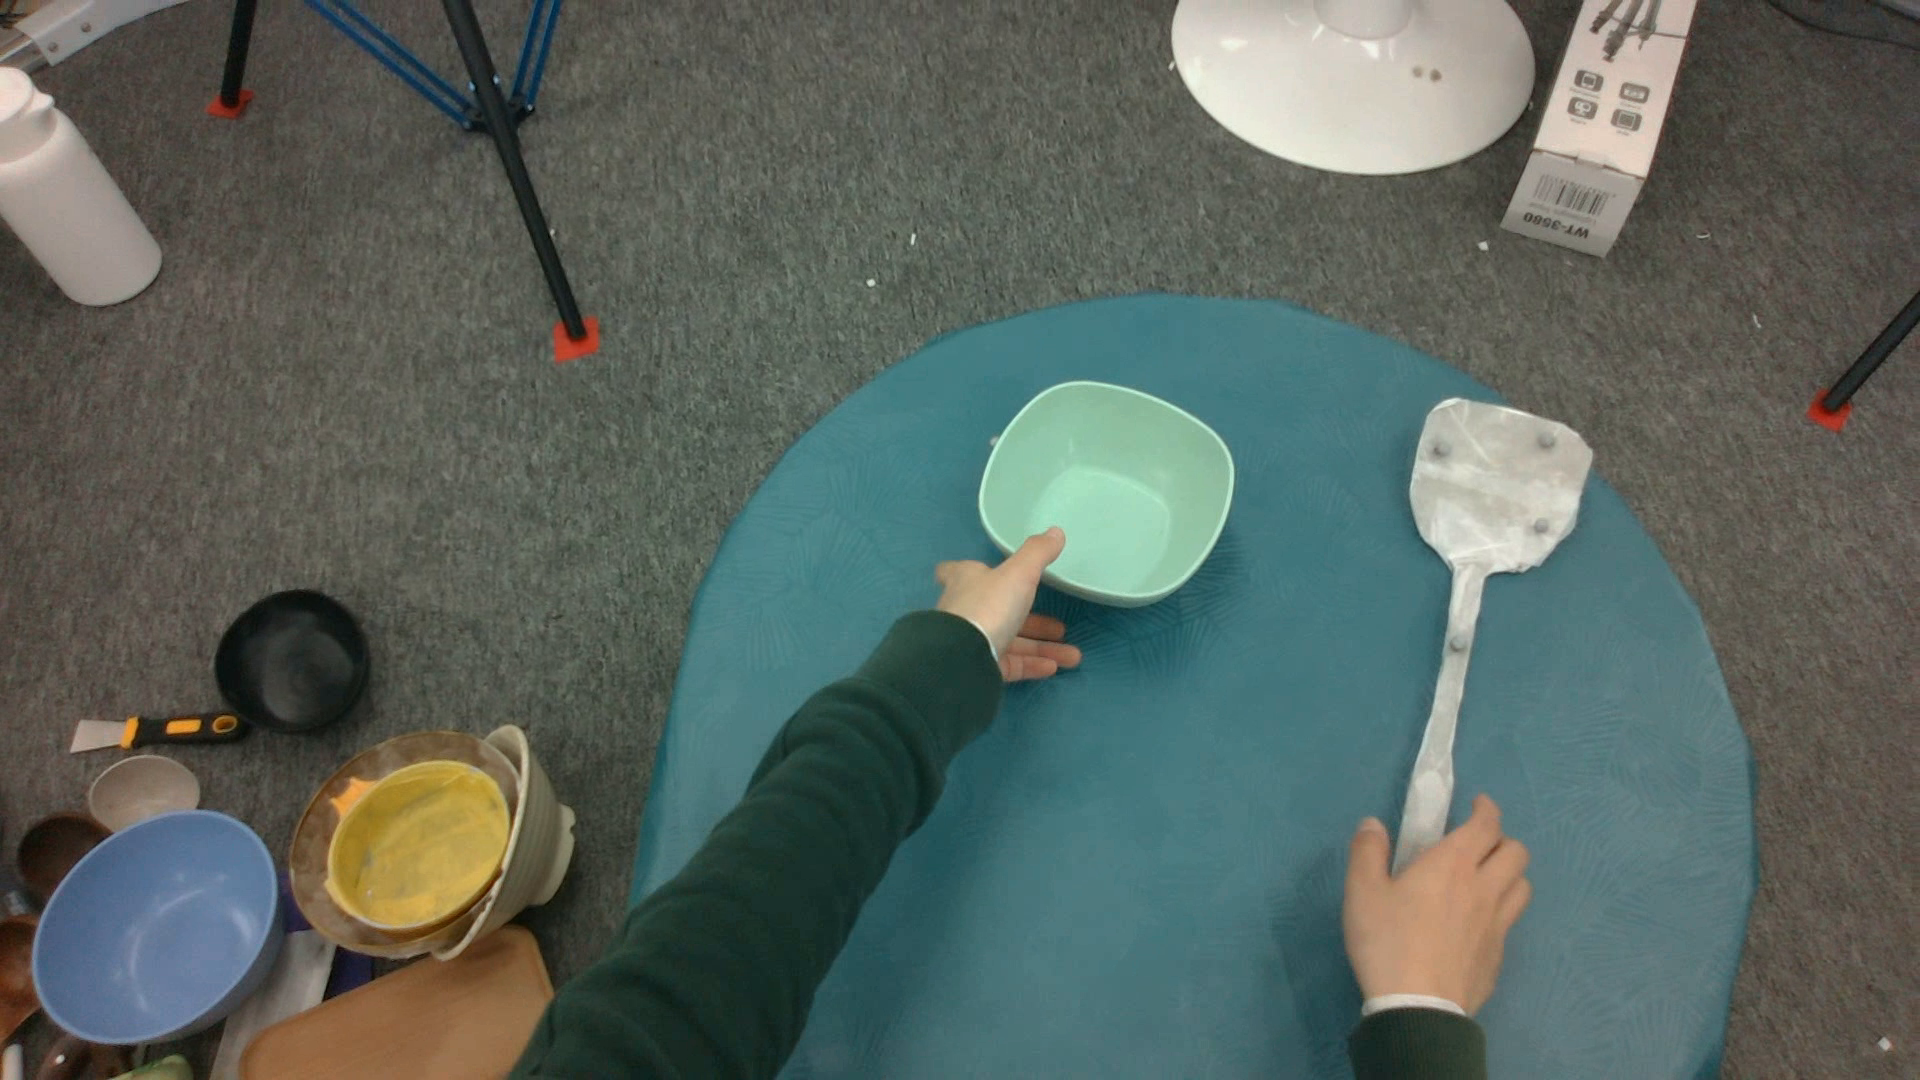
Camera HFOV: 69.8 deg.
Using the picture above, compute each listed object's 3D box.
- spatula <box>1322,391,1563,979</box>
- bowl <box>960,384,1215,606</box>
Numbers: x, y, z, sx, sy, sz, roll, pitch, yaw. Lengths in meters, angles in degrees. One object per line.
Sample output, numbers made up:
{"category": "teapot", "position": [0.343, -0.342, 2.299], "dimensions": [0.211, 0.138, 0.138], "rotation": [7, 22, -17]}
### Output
{"category": "spatula", "position": [0.259, 0.070, 0.768], "dimensions": [0.098, 0.044, 0.366], "rotation": [19, 60, 8]}
{"category": "bowl", "position": [0.073, -0.017, 0.809], "dimensions": [0.151, 0.058, 0.152], "rotation": [0, 58, 0]}
